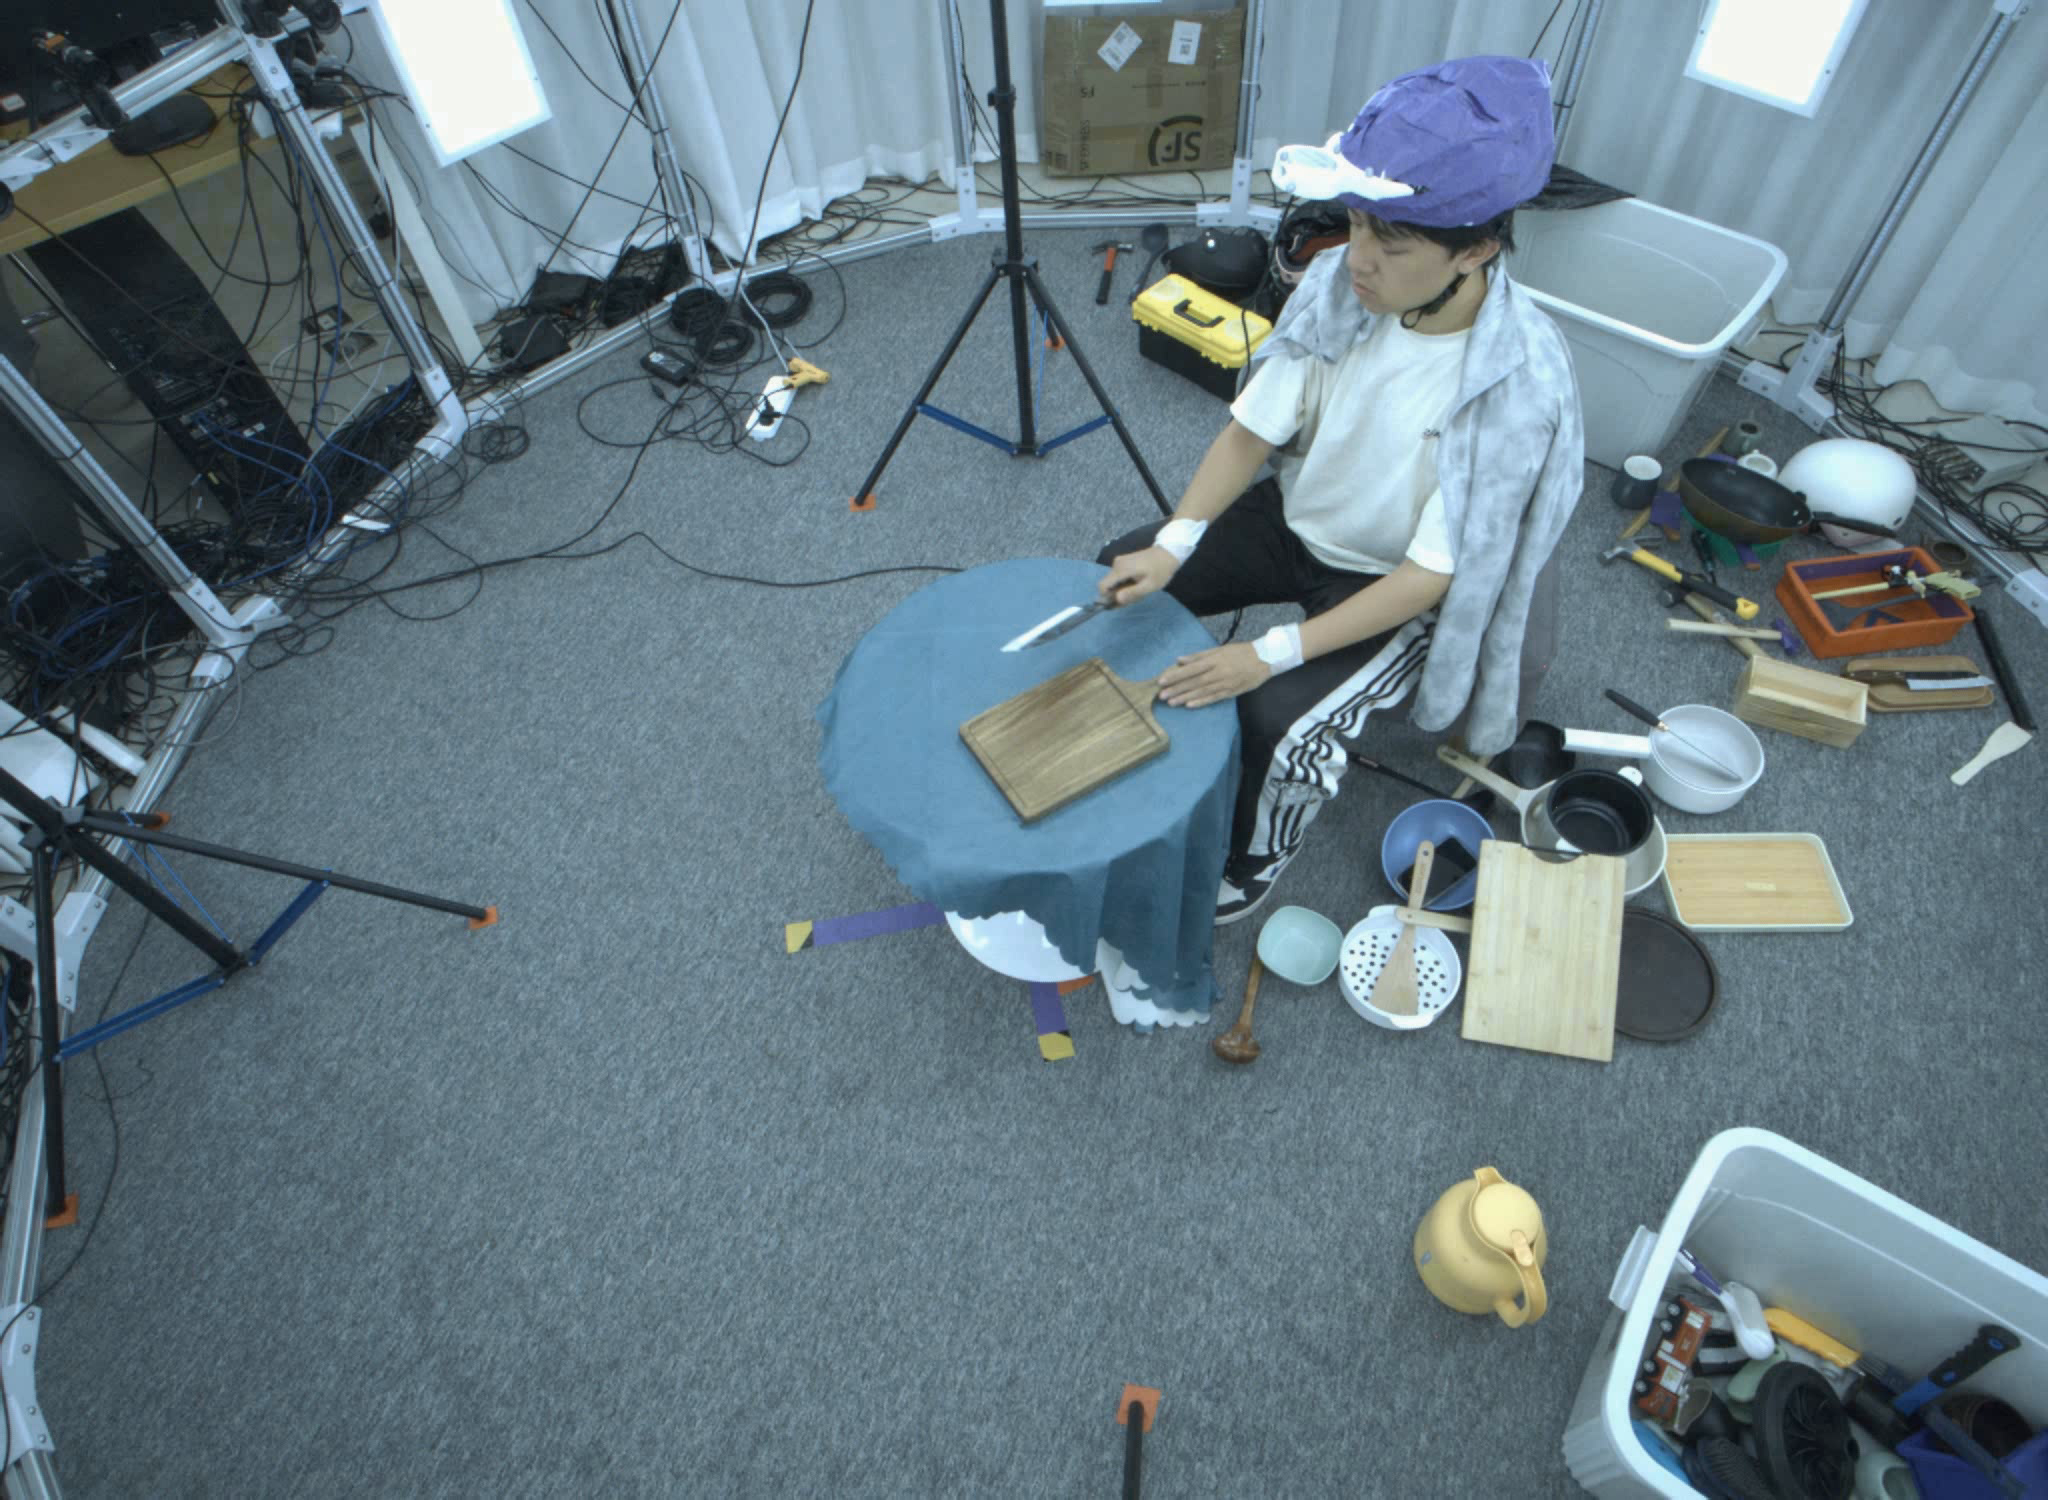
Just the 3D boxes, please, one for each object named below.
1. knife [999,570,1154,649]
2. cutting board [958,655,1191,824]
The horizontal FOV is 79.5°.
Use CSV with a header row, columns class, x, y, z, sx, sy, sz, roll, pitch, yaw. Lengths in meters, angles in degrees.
class,x,y,z,sx,sy,sz,roll,pitch,yaw
knife,0.081,-0.208,1.830,0.066,0.024,0.303,10,34,44
cutting board,0.100,-0.042,1.803,0.355,0.023,0.197,-28,59,-17
